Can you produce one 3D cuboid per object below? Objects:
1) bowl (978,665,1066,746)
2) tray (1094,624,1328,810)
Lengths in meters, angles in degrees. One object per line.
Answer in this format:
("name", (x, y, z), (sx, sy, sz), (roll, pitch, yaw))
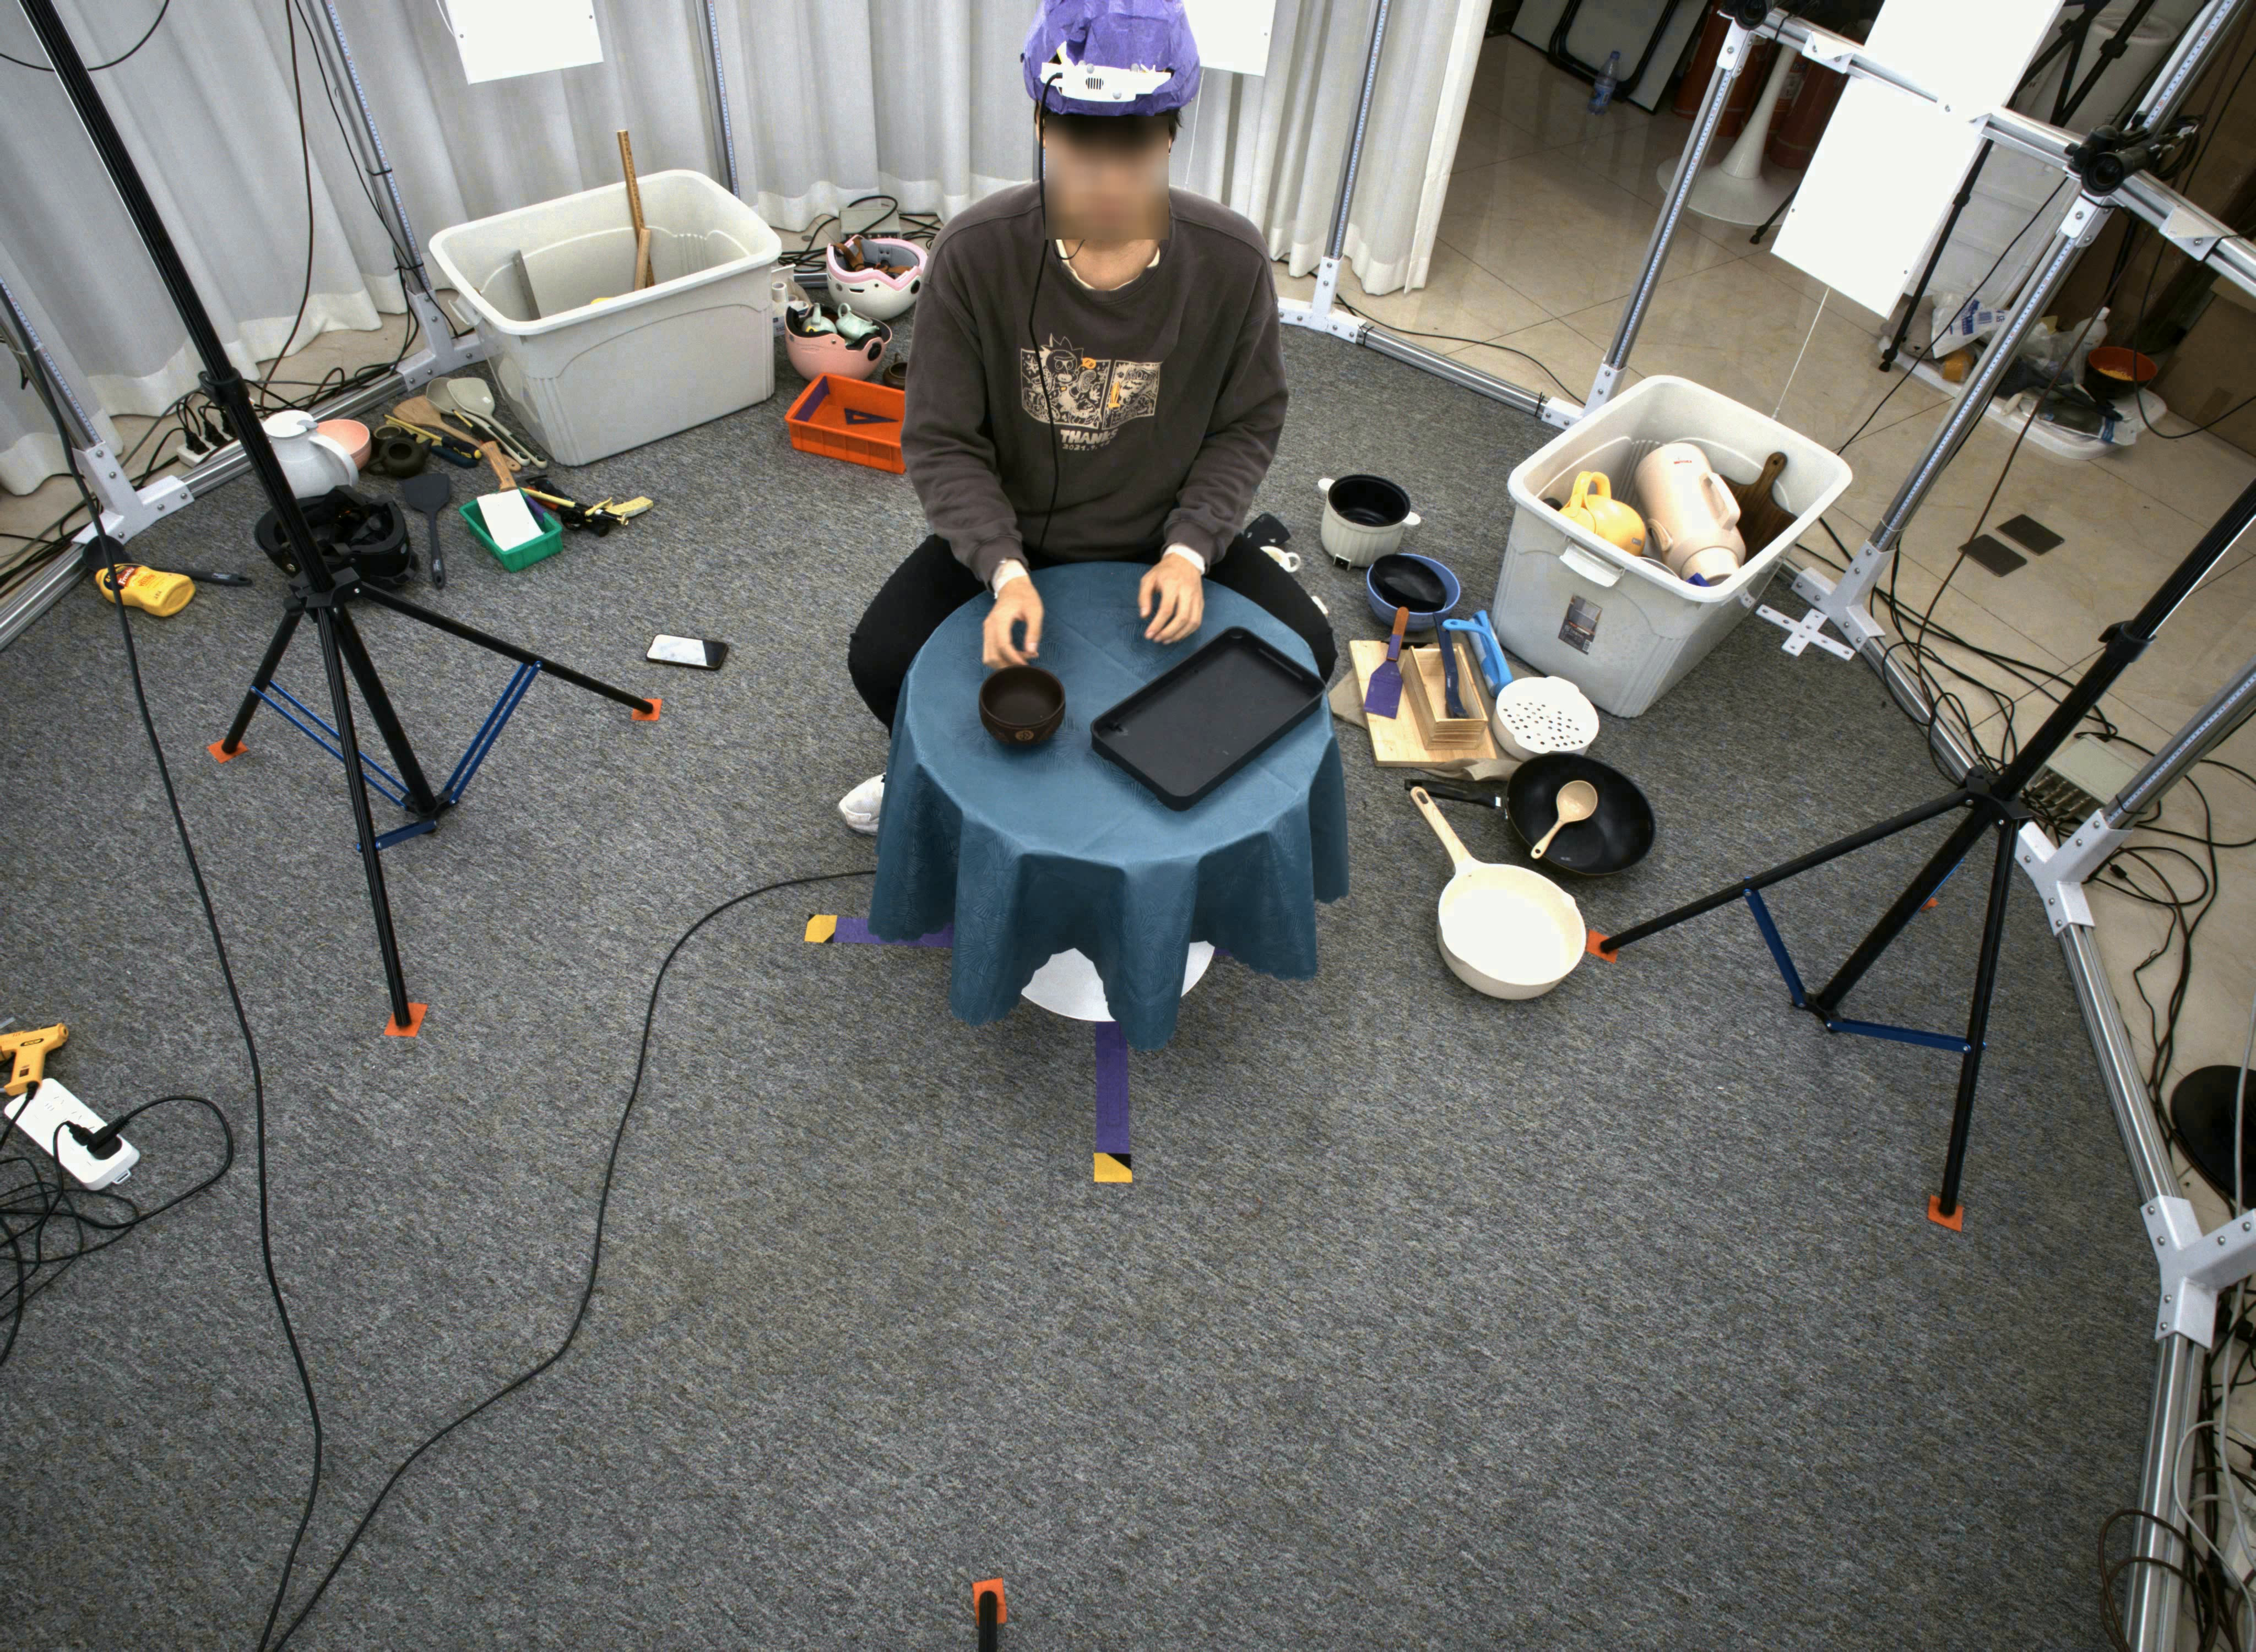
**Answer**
("bowl", (-0.144, -0.156, 1.746), (0.118, 0.068, 0.121), (1, 48, -2))
("tray", (0.118, -0.158, 1.788), (0.187, 0.036, 0.321), (35, 56, 25))
